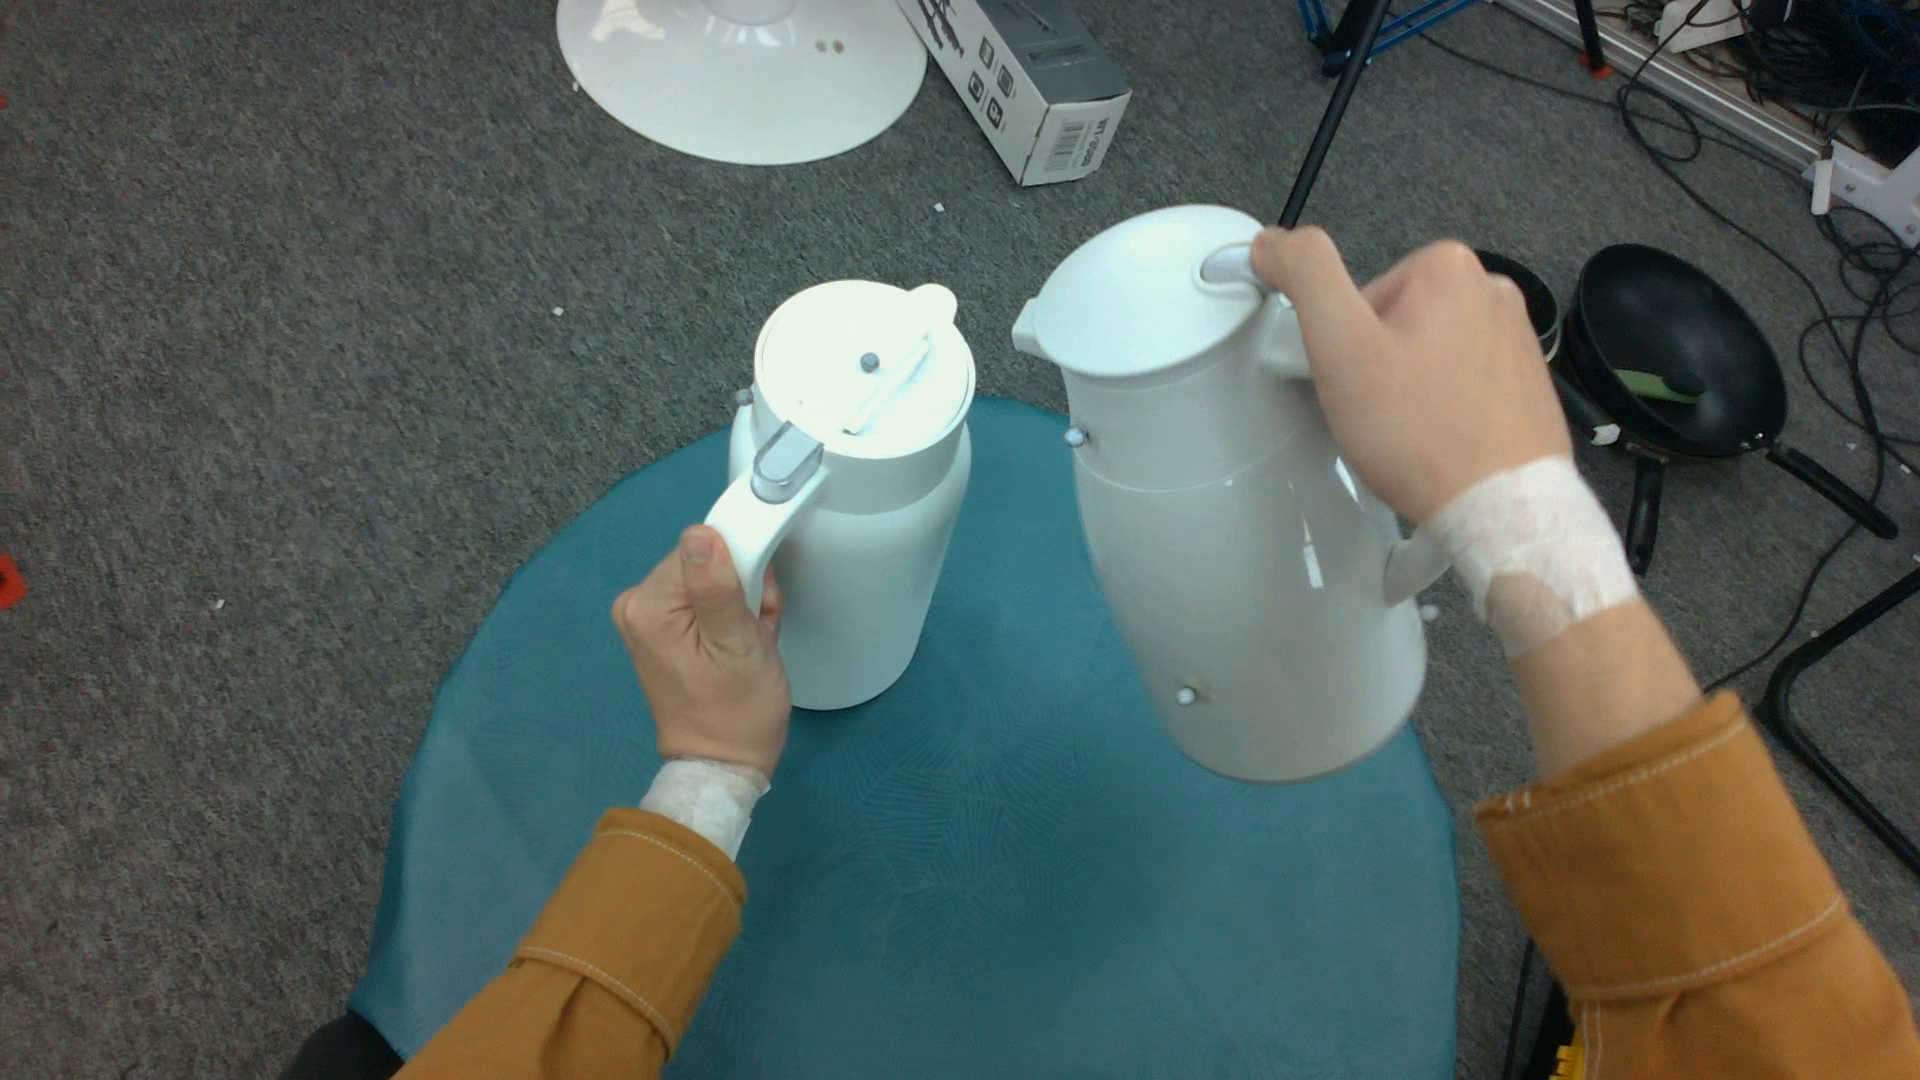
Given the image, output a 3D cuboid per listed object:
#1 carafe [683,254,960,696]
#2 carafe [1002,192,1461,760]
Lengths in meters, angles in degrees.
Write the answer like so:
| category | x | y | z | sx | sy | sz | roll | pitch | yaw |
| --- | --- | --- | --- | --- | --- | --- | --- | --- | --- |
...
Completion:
| category | x | y | z | sx | sy | sz | roll | pitch | yaw |
| --- | --- | --- | --- | --- | --- | --- | --- | --- | --- |
| carafe | -0.078 | -0.009 | 0.709 | 0.124 | 0.267 | 0.173 | 32 | 60 | 6 |
| carafe | 0.124 | -0.025 | 0.576 | 0.167 | 0.248 | 0.133 | 7 | 54 | 31 |
